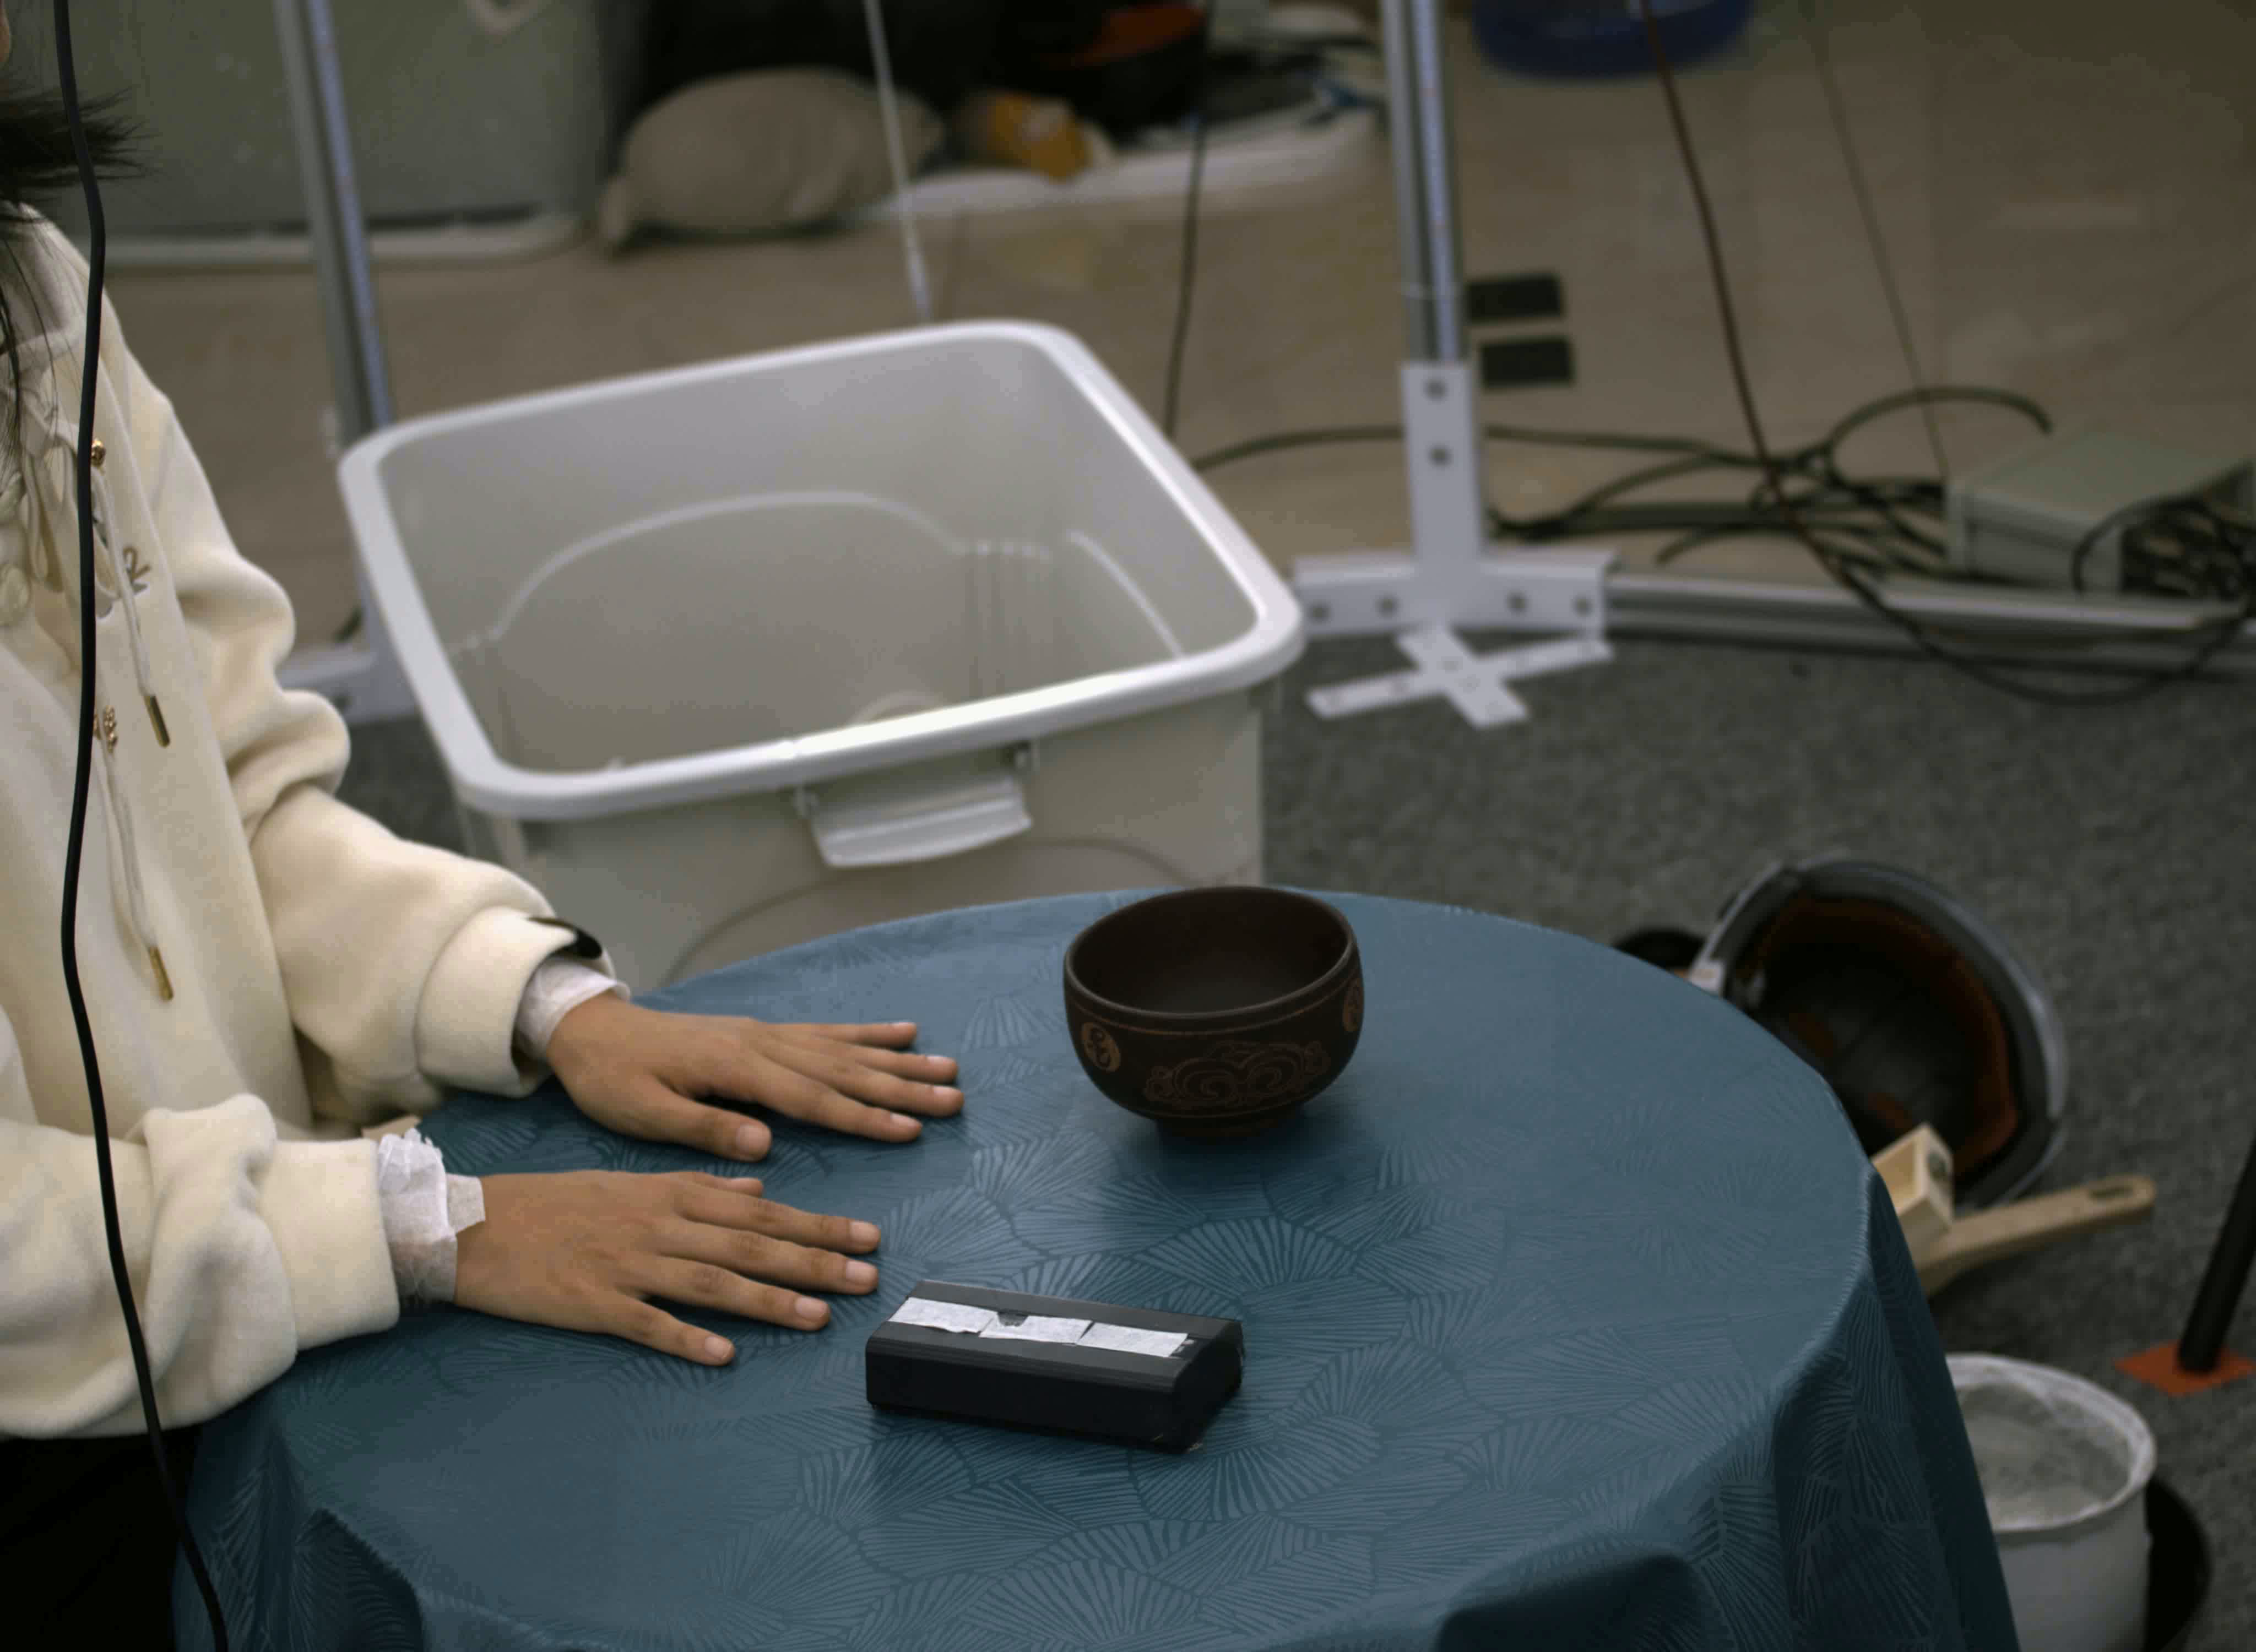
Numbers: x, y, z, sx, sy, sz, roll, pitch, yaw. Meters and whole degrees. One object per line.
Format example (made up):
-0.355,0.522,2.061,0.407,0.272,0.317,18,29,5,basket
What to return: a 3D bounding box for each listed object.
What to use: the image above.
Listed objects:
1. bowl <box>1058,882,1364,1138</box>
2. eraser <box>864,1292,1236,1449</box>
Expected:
0.034,0.077,2.187,0.118,0.071,0.116,-6,25,3,bowl
-0.026,0.192,2.009,0.125,0.031,0.053,3,26,24,eraser
